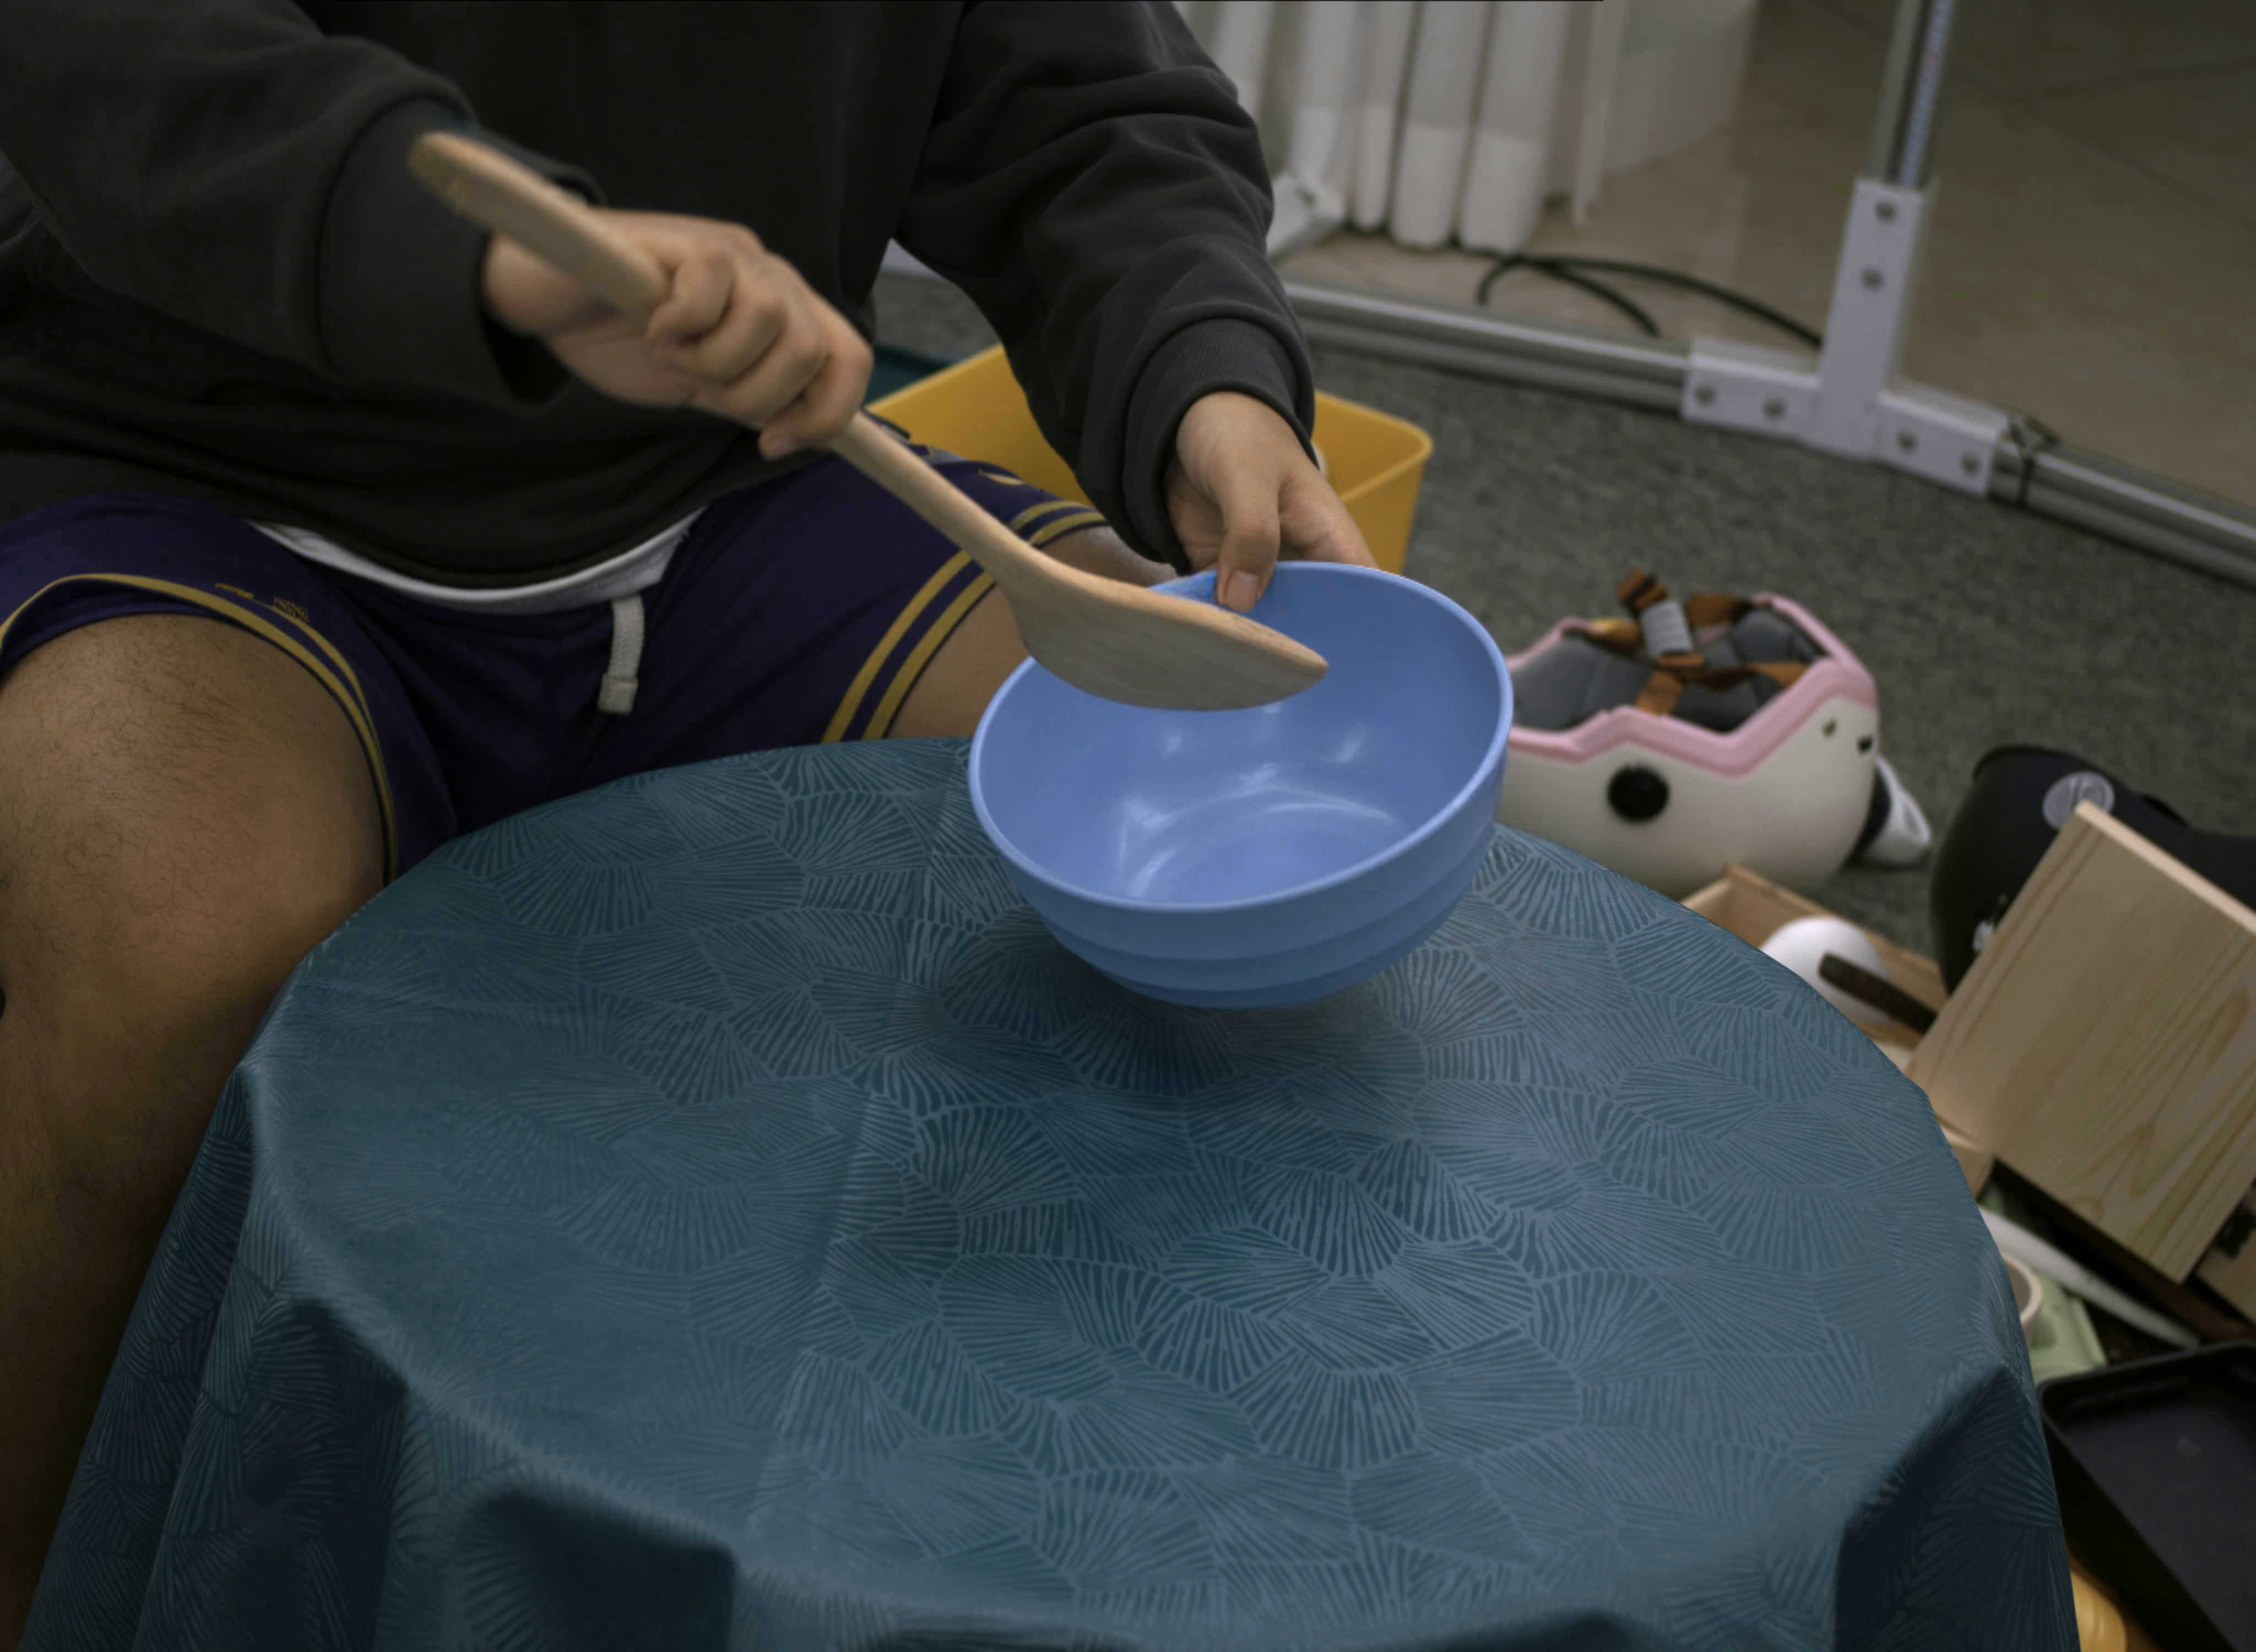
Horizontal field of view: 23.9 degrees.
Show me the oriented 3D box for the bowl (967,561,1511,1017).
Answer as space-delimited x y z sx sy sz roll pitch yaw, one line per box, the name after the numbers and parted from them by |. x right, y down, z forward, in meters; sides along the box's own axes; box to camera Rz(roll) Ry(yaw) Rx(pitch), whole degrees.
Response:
0.047 0.002 1.913 0.196 0.095 0.198 -9 39 7 | bowl

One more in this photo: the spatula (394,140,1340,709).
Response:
-0.083 -0.123 1.716 0.096 0.018 0.387 -12 -35 44 | spatula
